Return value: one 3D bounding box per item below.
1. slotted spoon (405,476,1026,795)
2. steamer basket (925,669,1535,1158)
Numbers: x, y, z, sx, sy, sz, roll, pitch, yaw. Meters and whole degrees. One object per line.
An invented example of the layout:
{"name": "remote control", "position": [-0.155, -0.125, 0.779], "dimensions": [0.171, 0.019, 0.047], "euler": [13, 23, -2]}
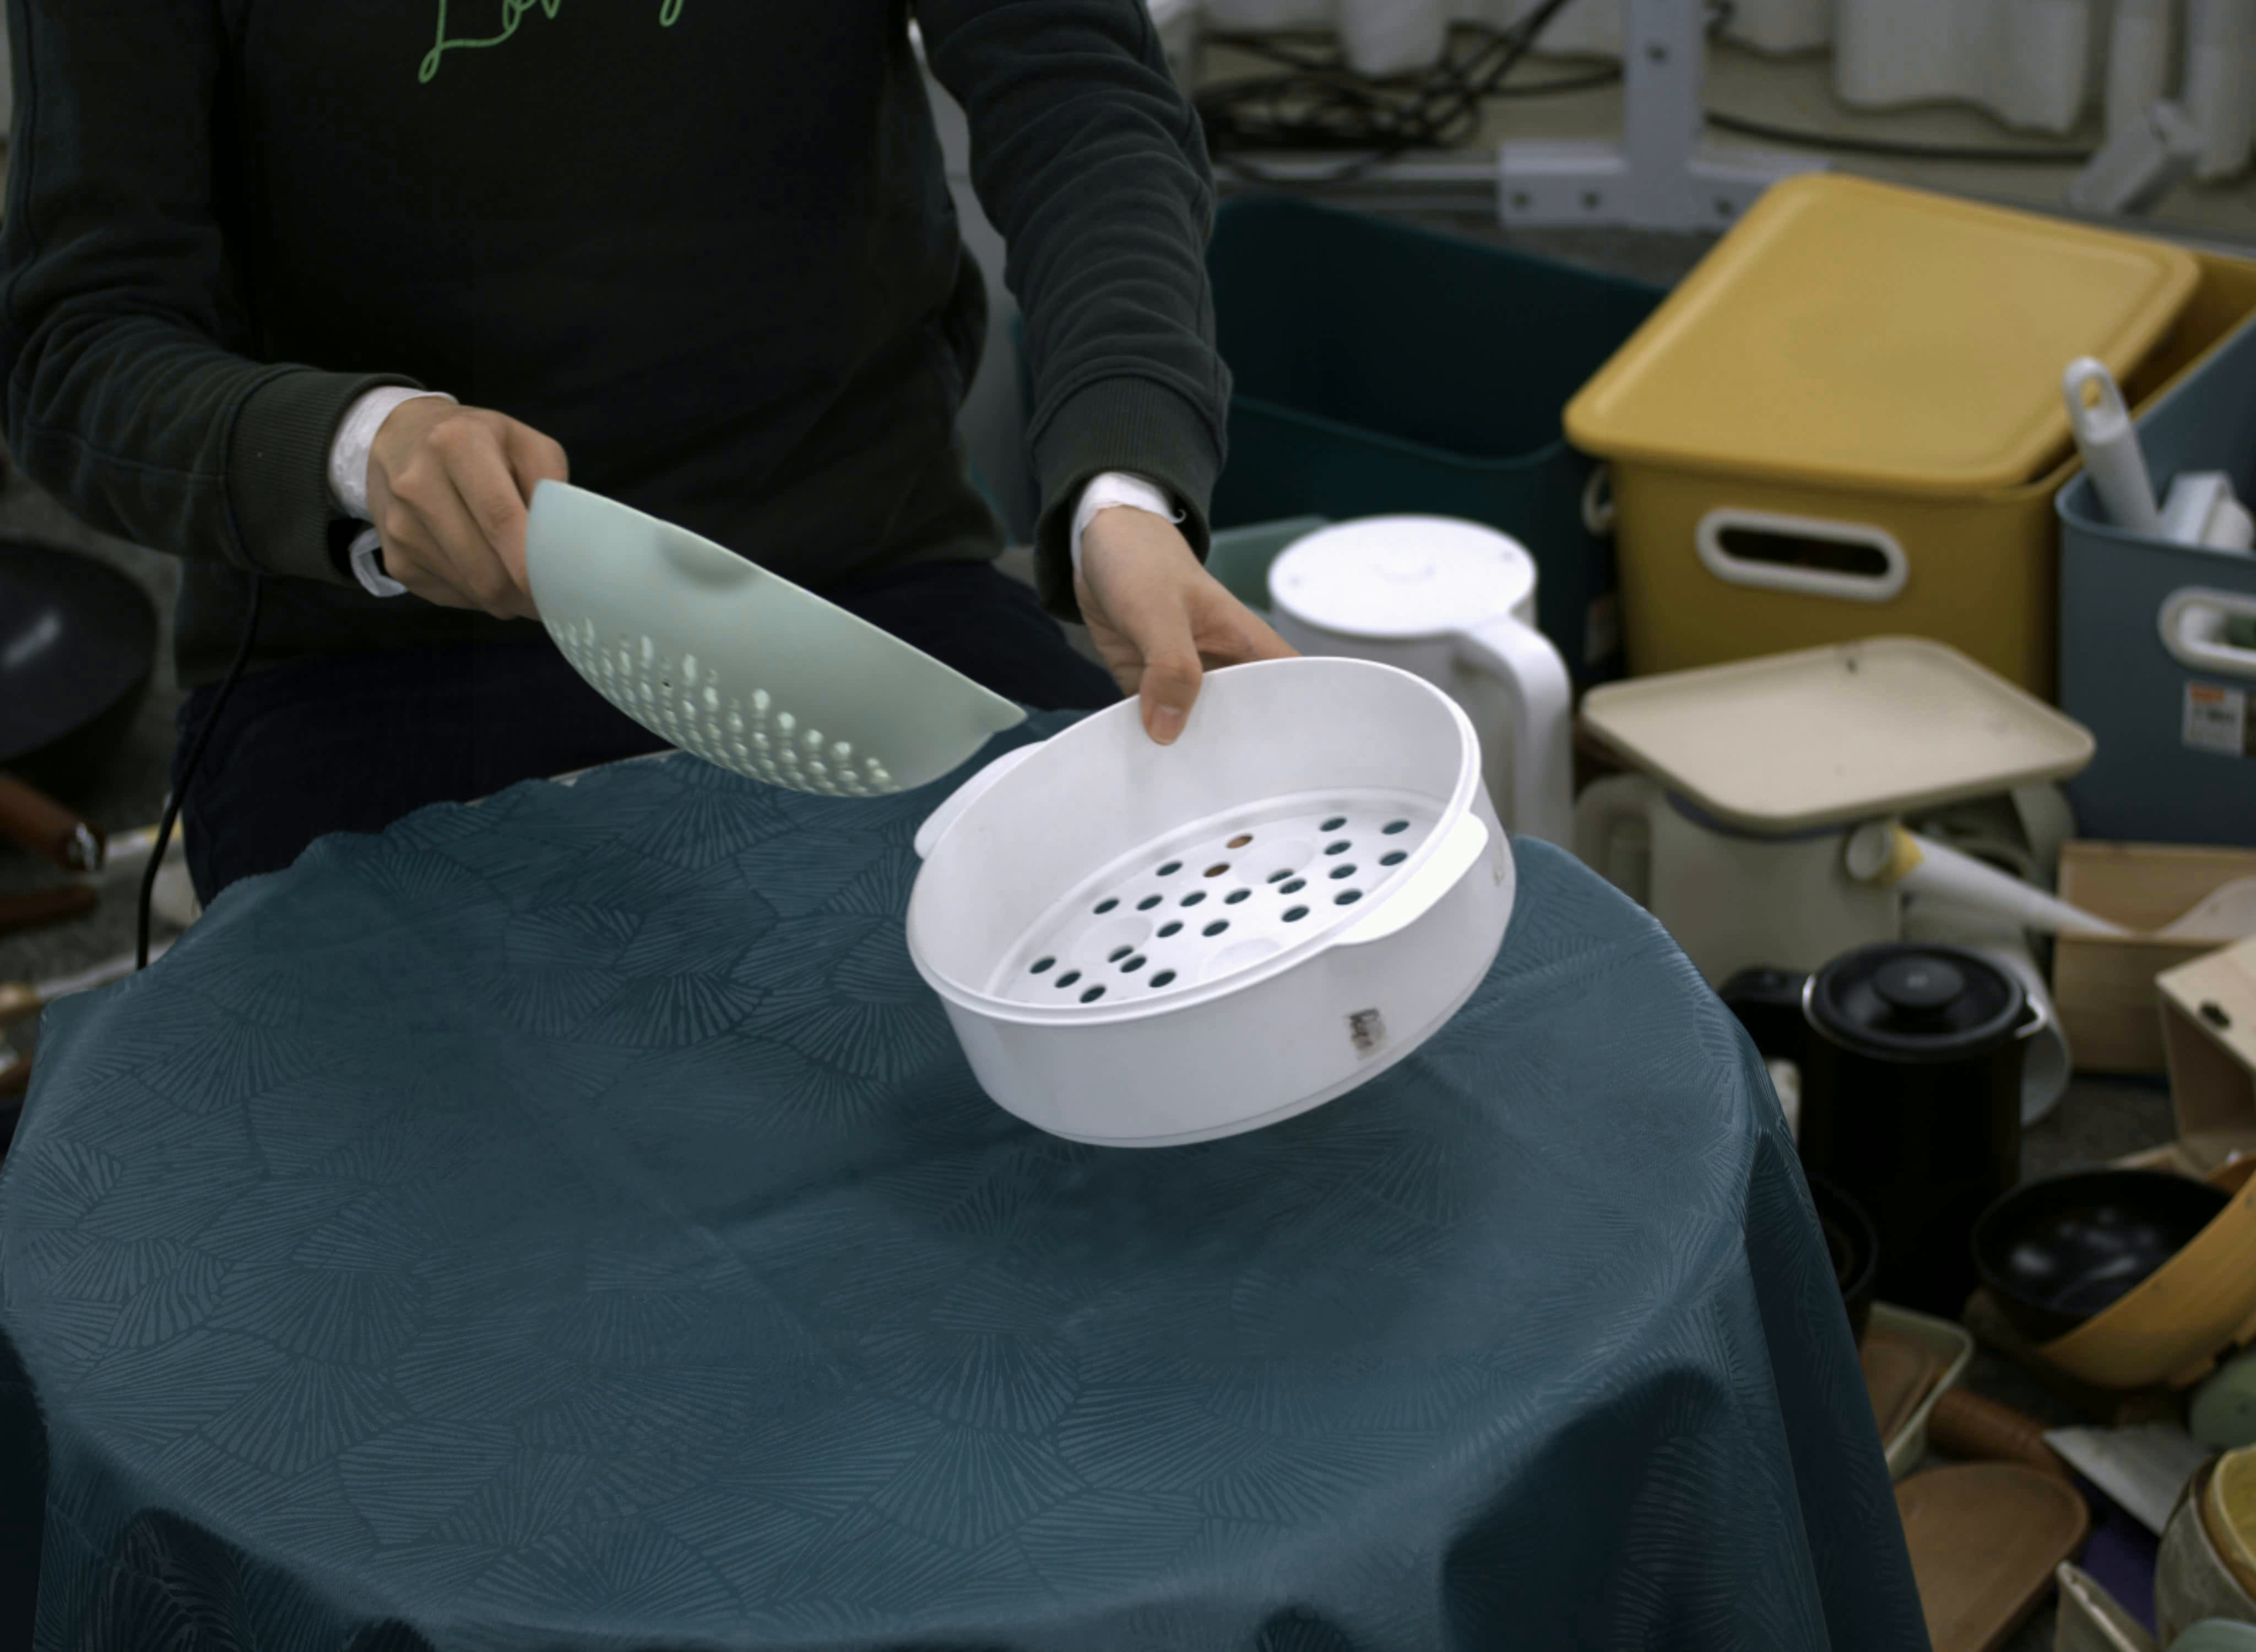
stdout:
{"name": "slotted spoon", "position": [-0.168, -0.077, 1.896], "dimensions": [0.168, 0.075, 0.359], "euler": [30, 1, -30]}
{"name": "steamer basket", "position": [0.036, 0.029, 1.861], "dimensions": [0.229, 0.068, 0.205], "euler": [8, 39, 43]}
